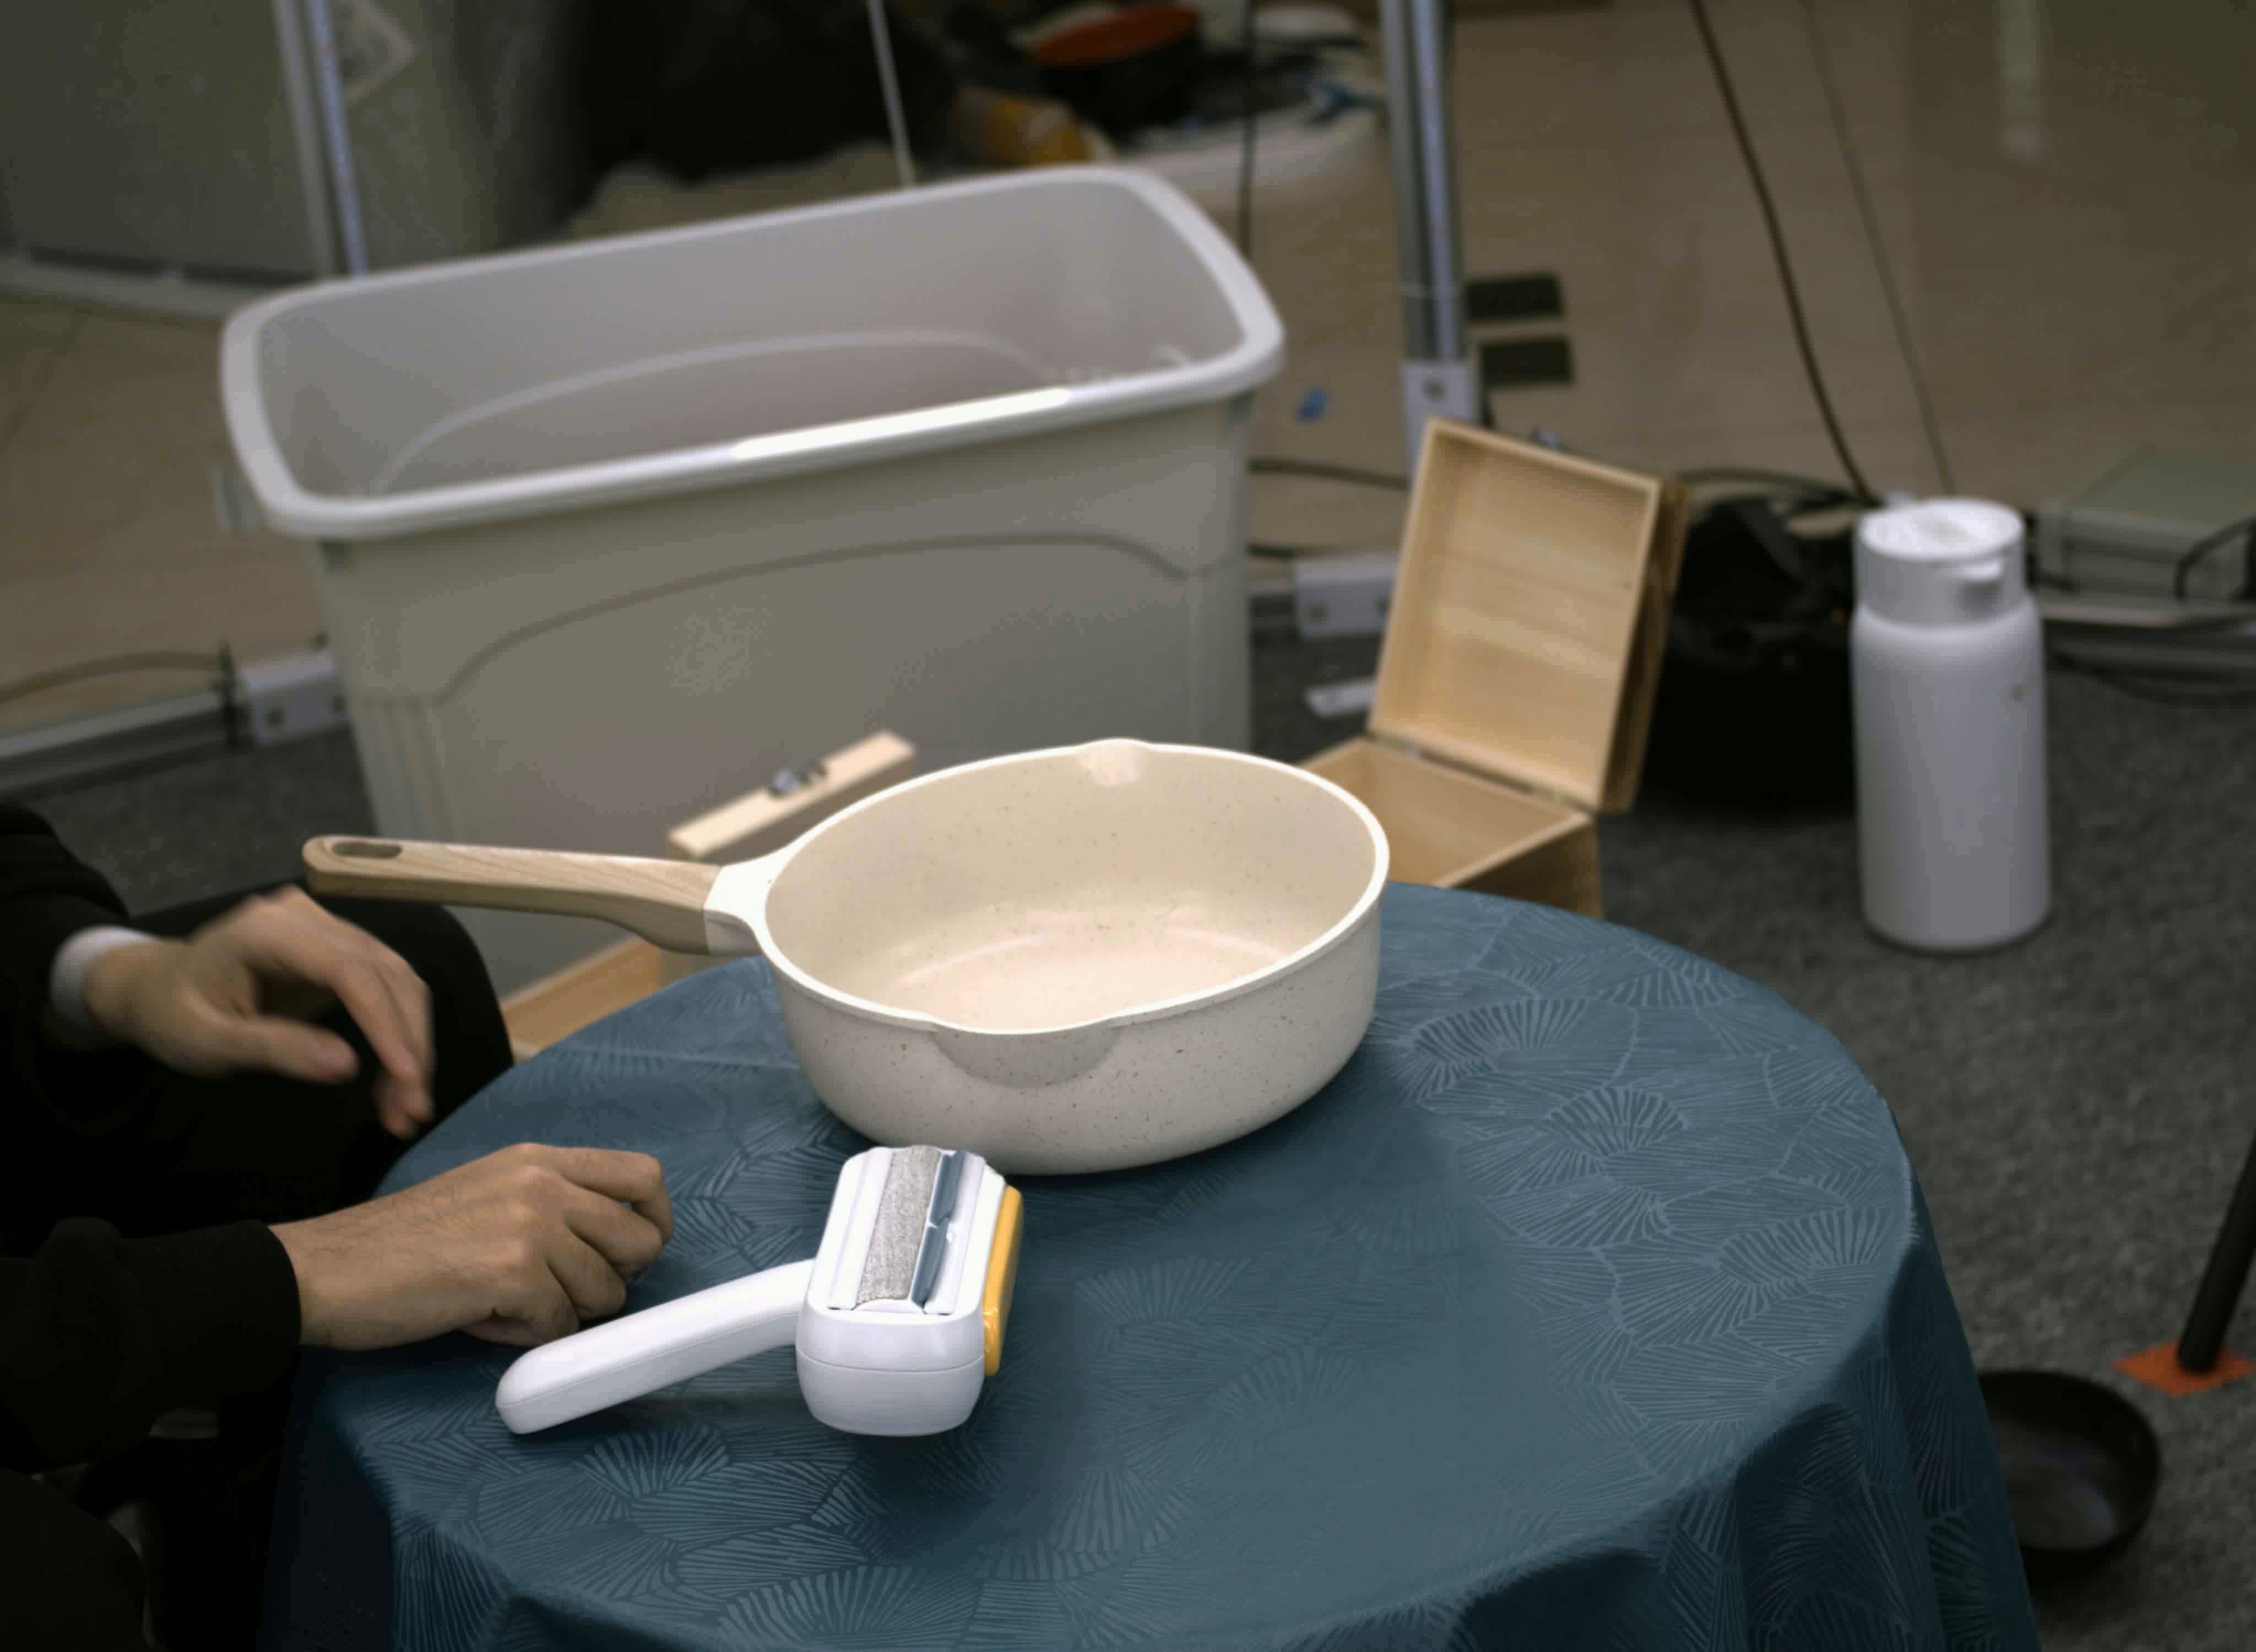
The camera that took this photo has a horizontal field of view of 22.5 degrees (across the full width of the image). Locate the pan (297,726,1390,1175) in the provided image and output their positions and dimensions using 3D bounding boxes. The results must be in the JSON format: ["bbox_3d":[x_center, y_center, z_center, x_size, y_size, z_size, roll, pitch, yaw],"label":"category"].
[{"bbox_3d":[-0.110,0.050,2.241,0.434,0.104,0.259,-2,28,9],"label":"pan"}]

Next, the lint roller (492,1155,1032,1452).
[{"bbox_3d":[-0.135,0.177,2.015,0.192,0.075,0.190,-5,20,8],"label":"lint roller"}]
